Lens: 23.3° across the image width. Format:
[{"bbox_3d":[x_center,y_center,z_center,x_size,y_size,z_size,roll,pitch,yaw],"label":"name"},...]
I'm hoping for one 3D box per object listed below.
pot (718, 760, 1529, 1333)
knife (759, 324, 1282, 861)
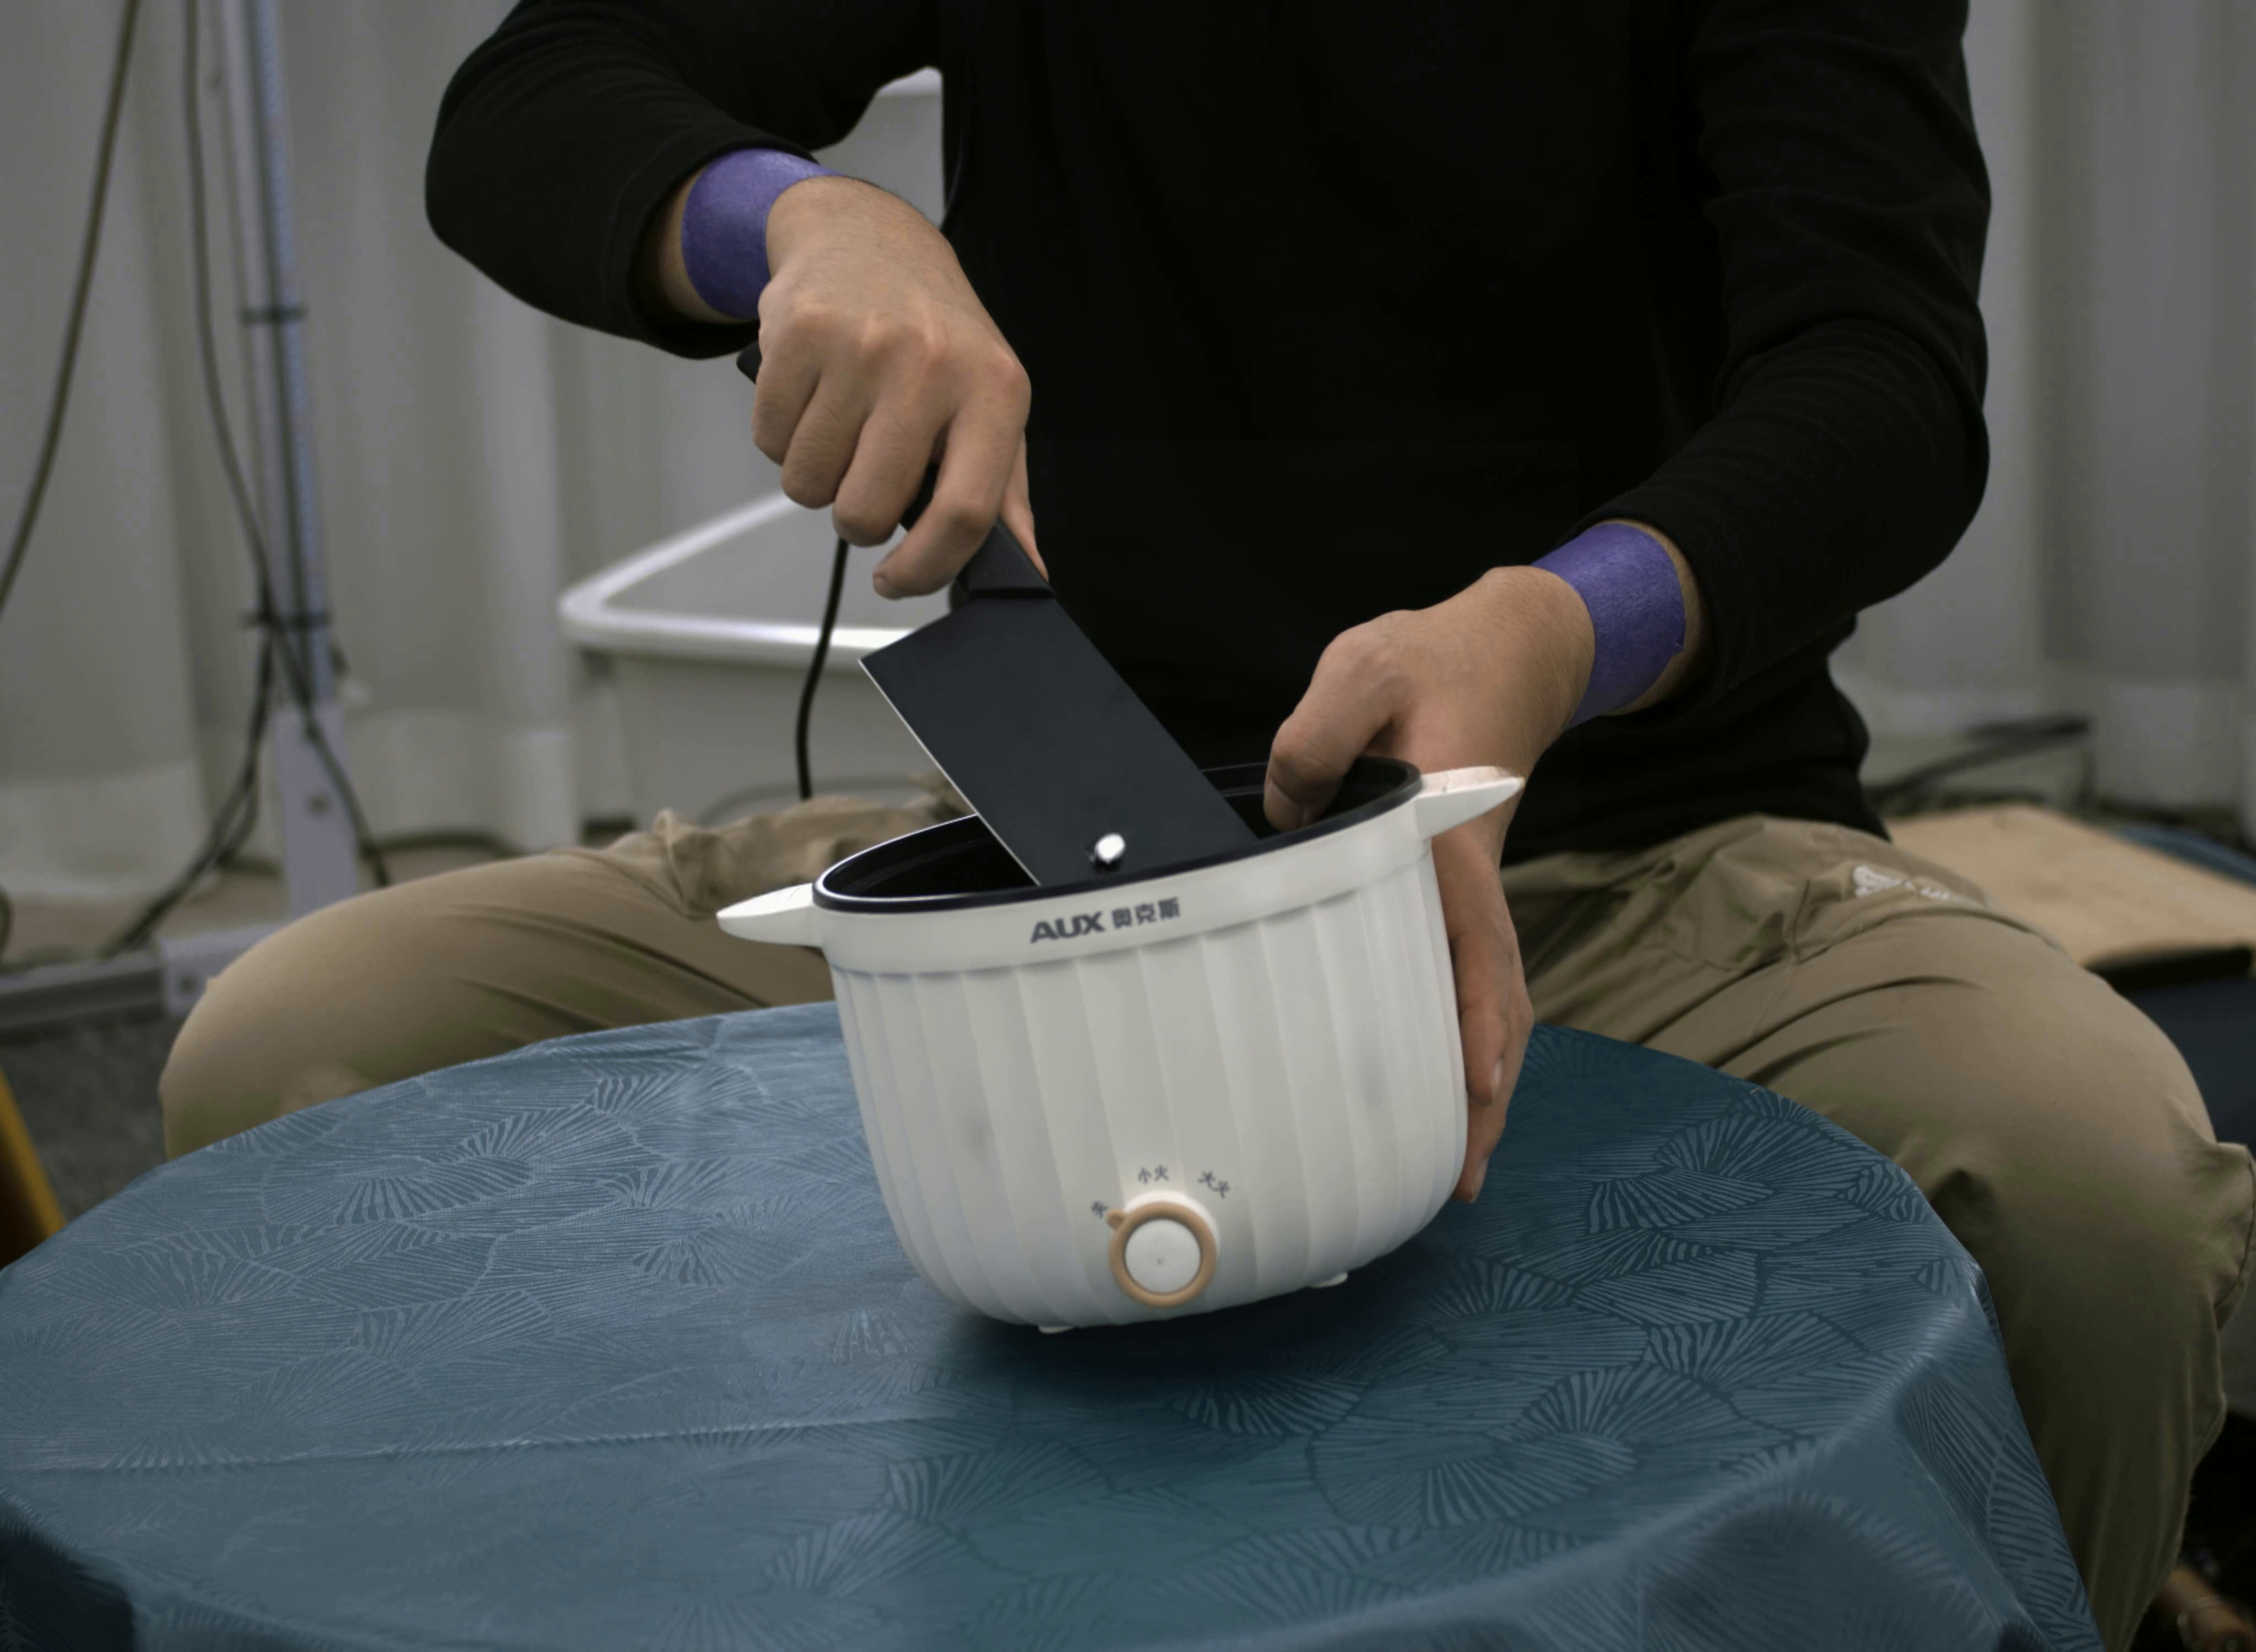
[{"bbox_3d":[0.010,0.066,1.592,0.240,0.143,0.191,-11,4,5],"label":"pot"},{"bbox_3d":[-0.027,-0.049,1.669,0.081,0.020,0.306,-23,57,-23],"label":"knife"}]
